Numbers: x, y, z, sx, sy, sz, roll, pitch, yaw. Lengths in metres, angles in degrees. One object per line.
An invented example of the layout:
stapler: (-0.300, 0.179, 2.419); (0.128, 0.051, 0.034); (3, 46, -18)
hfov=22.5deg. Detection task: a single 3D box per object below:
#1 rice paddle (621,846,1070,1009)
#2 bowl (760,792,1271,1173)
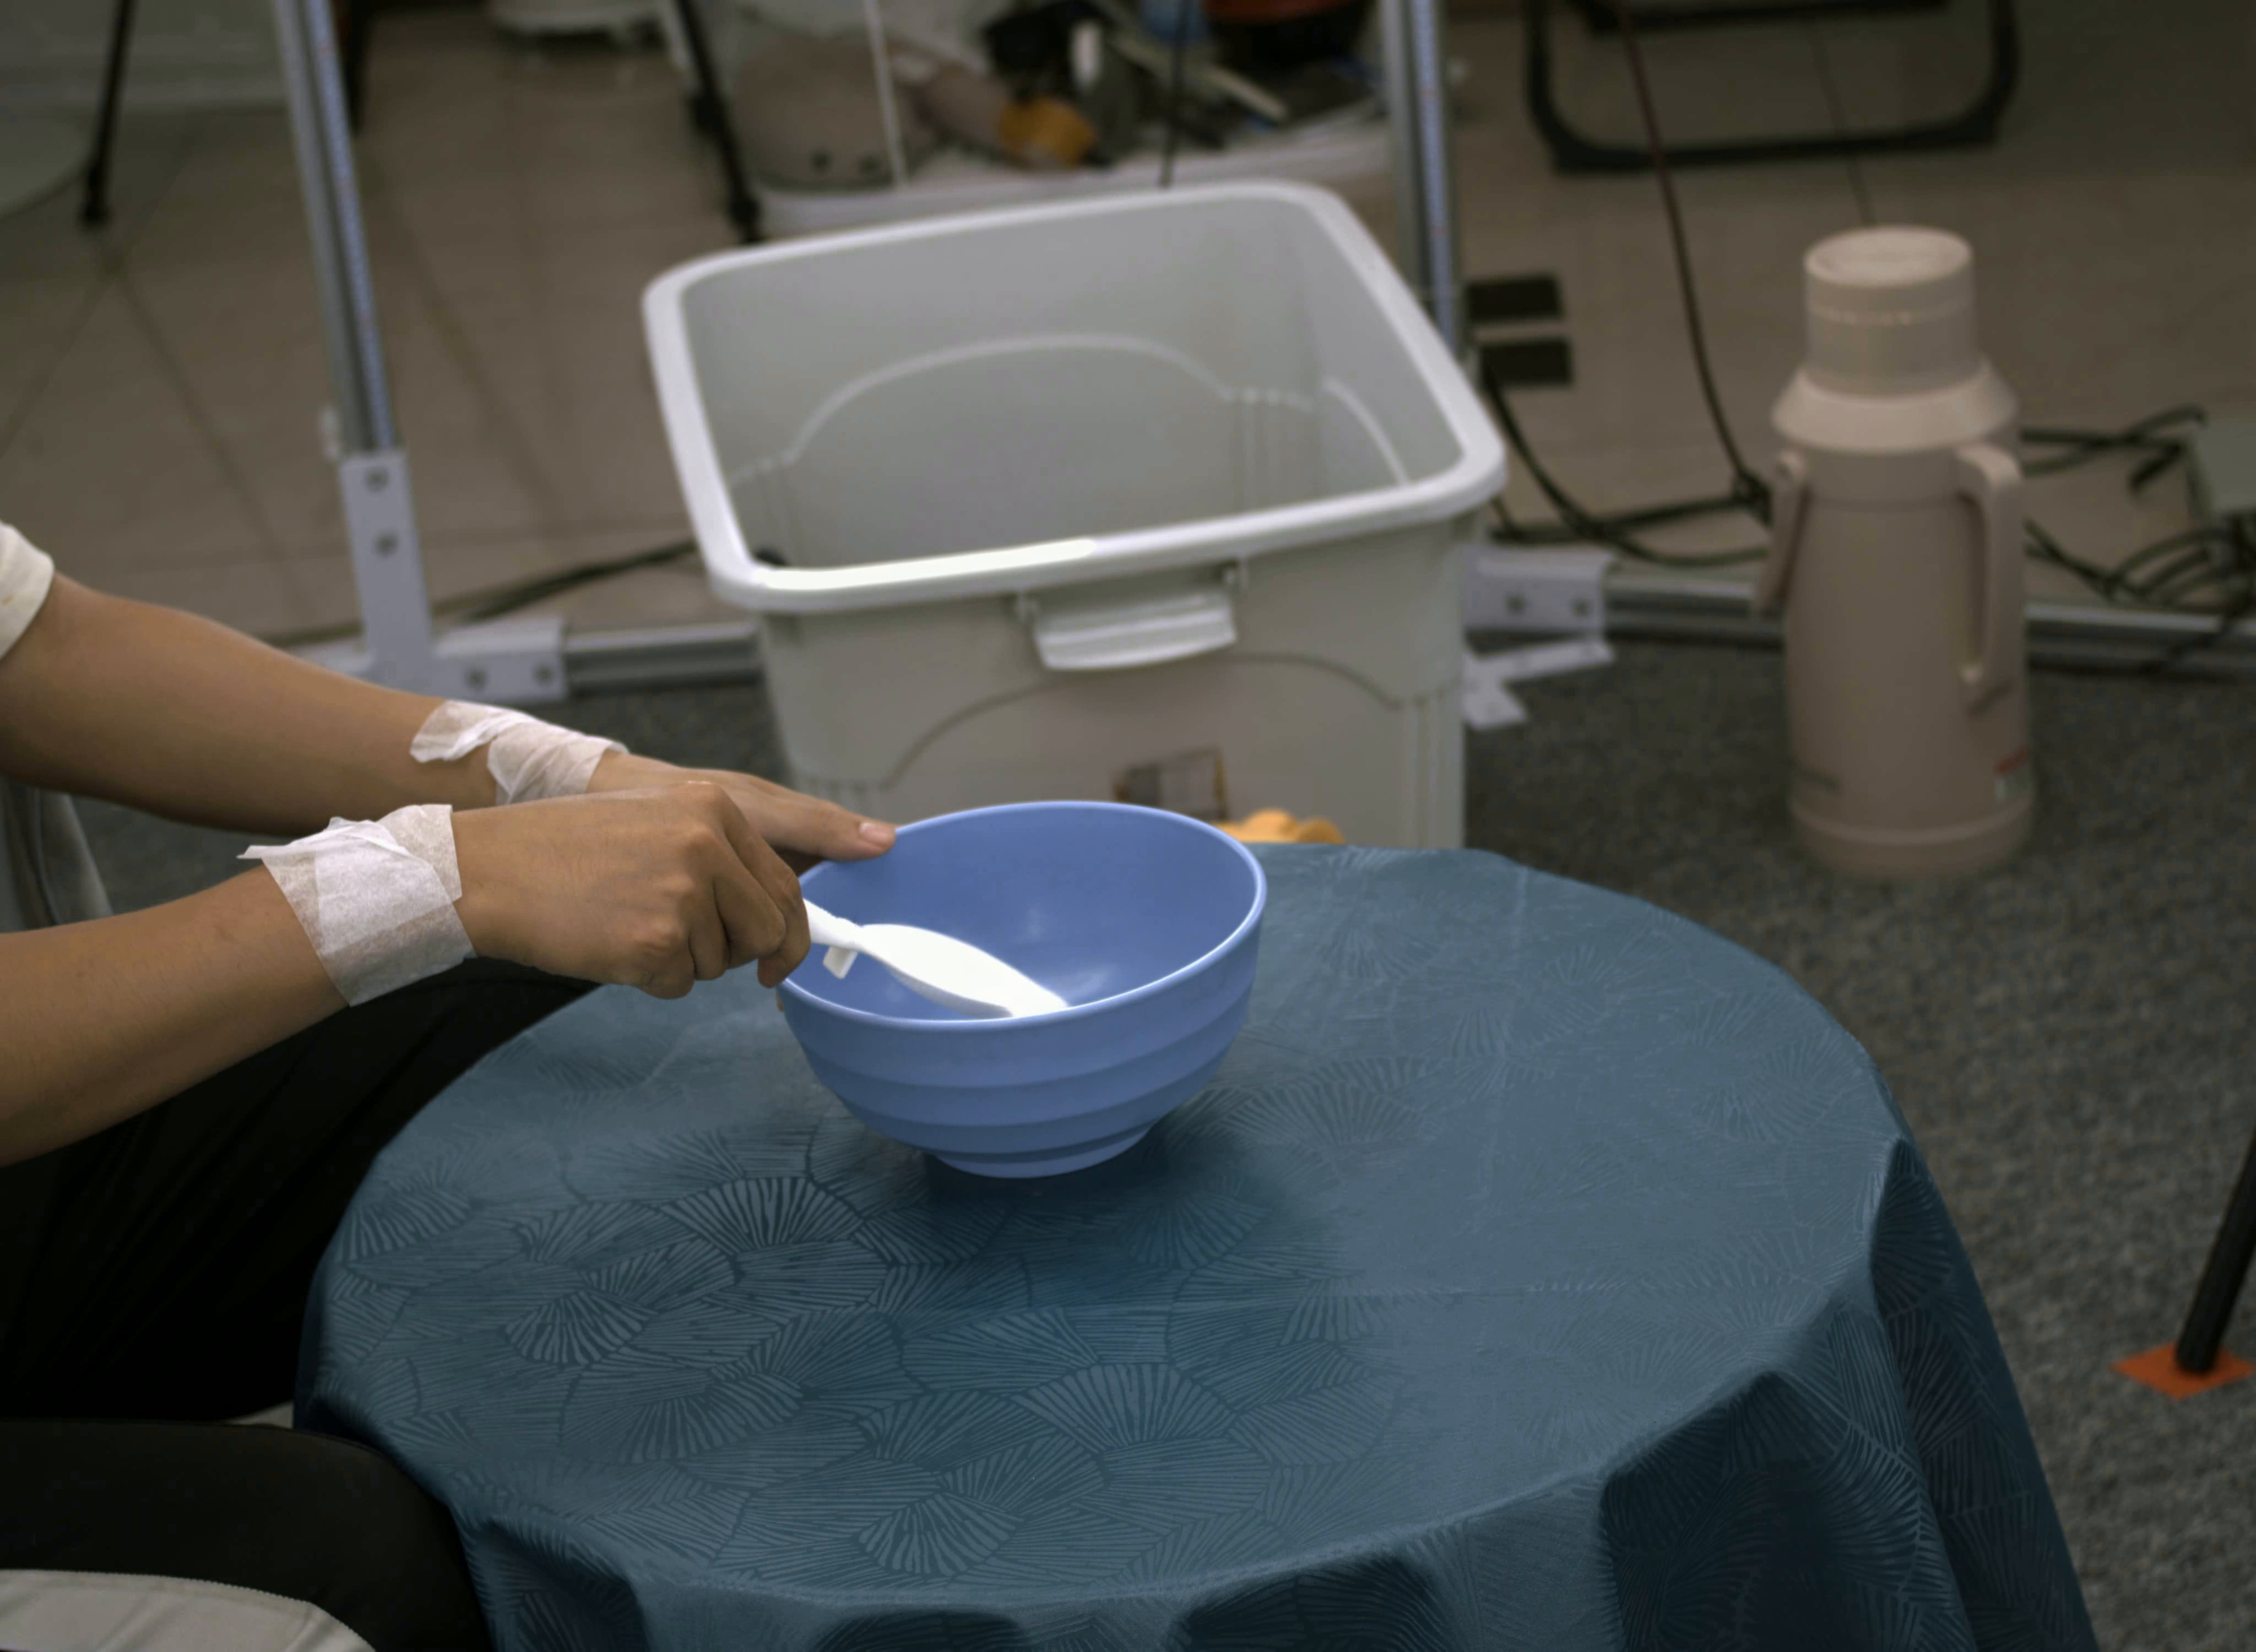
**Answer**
rice paddle: (-0.099, 0.041, 2.108); (0.206, 0.029, 0.068); (15, 19, -42)
bowl: (-0.040, 0.071, 2.189); (0.196, 0.097, 0.193); (-4, 26, 2)
